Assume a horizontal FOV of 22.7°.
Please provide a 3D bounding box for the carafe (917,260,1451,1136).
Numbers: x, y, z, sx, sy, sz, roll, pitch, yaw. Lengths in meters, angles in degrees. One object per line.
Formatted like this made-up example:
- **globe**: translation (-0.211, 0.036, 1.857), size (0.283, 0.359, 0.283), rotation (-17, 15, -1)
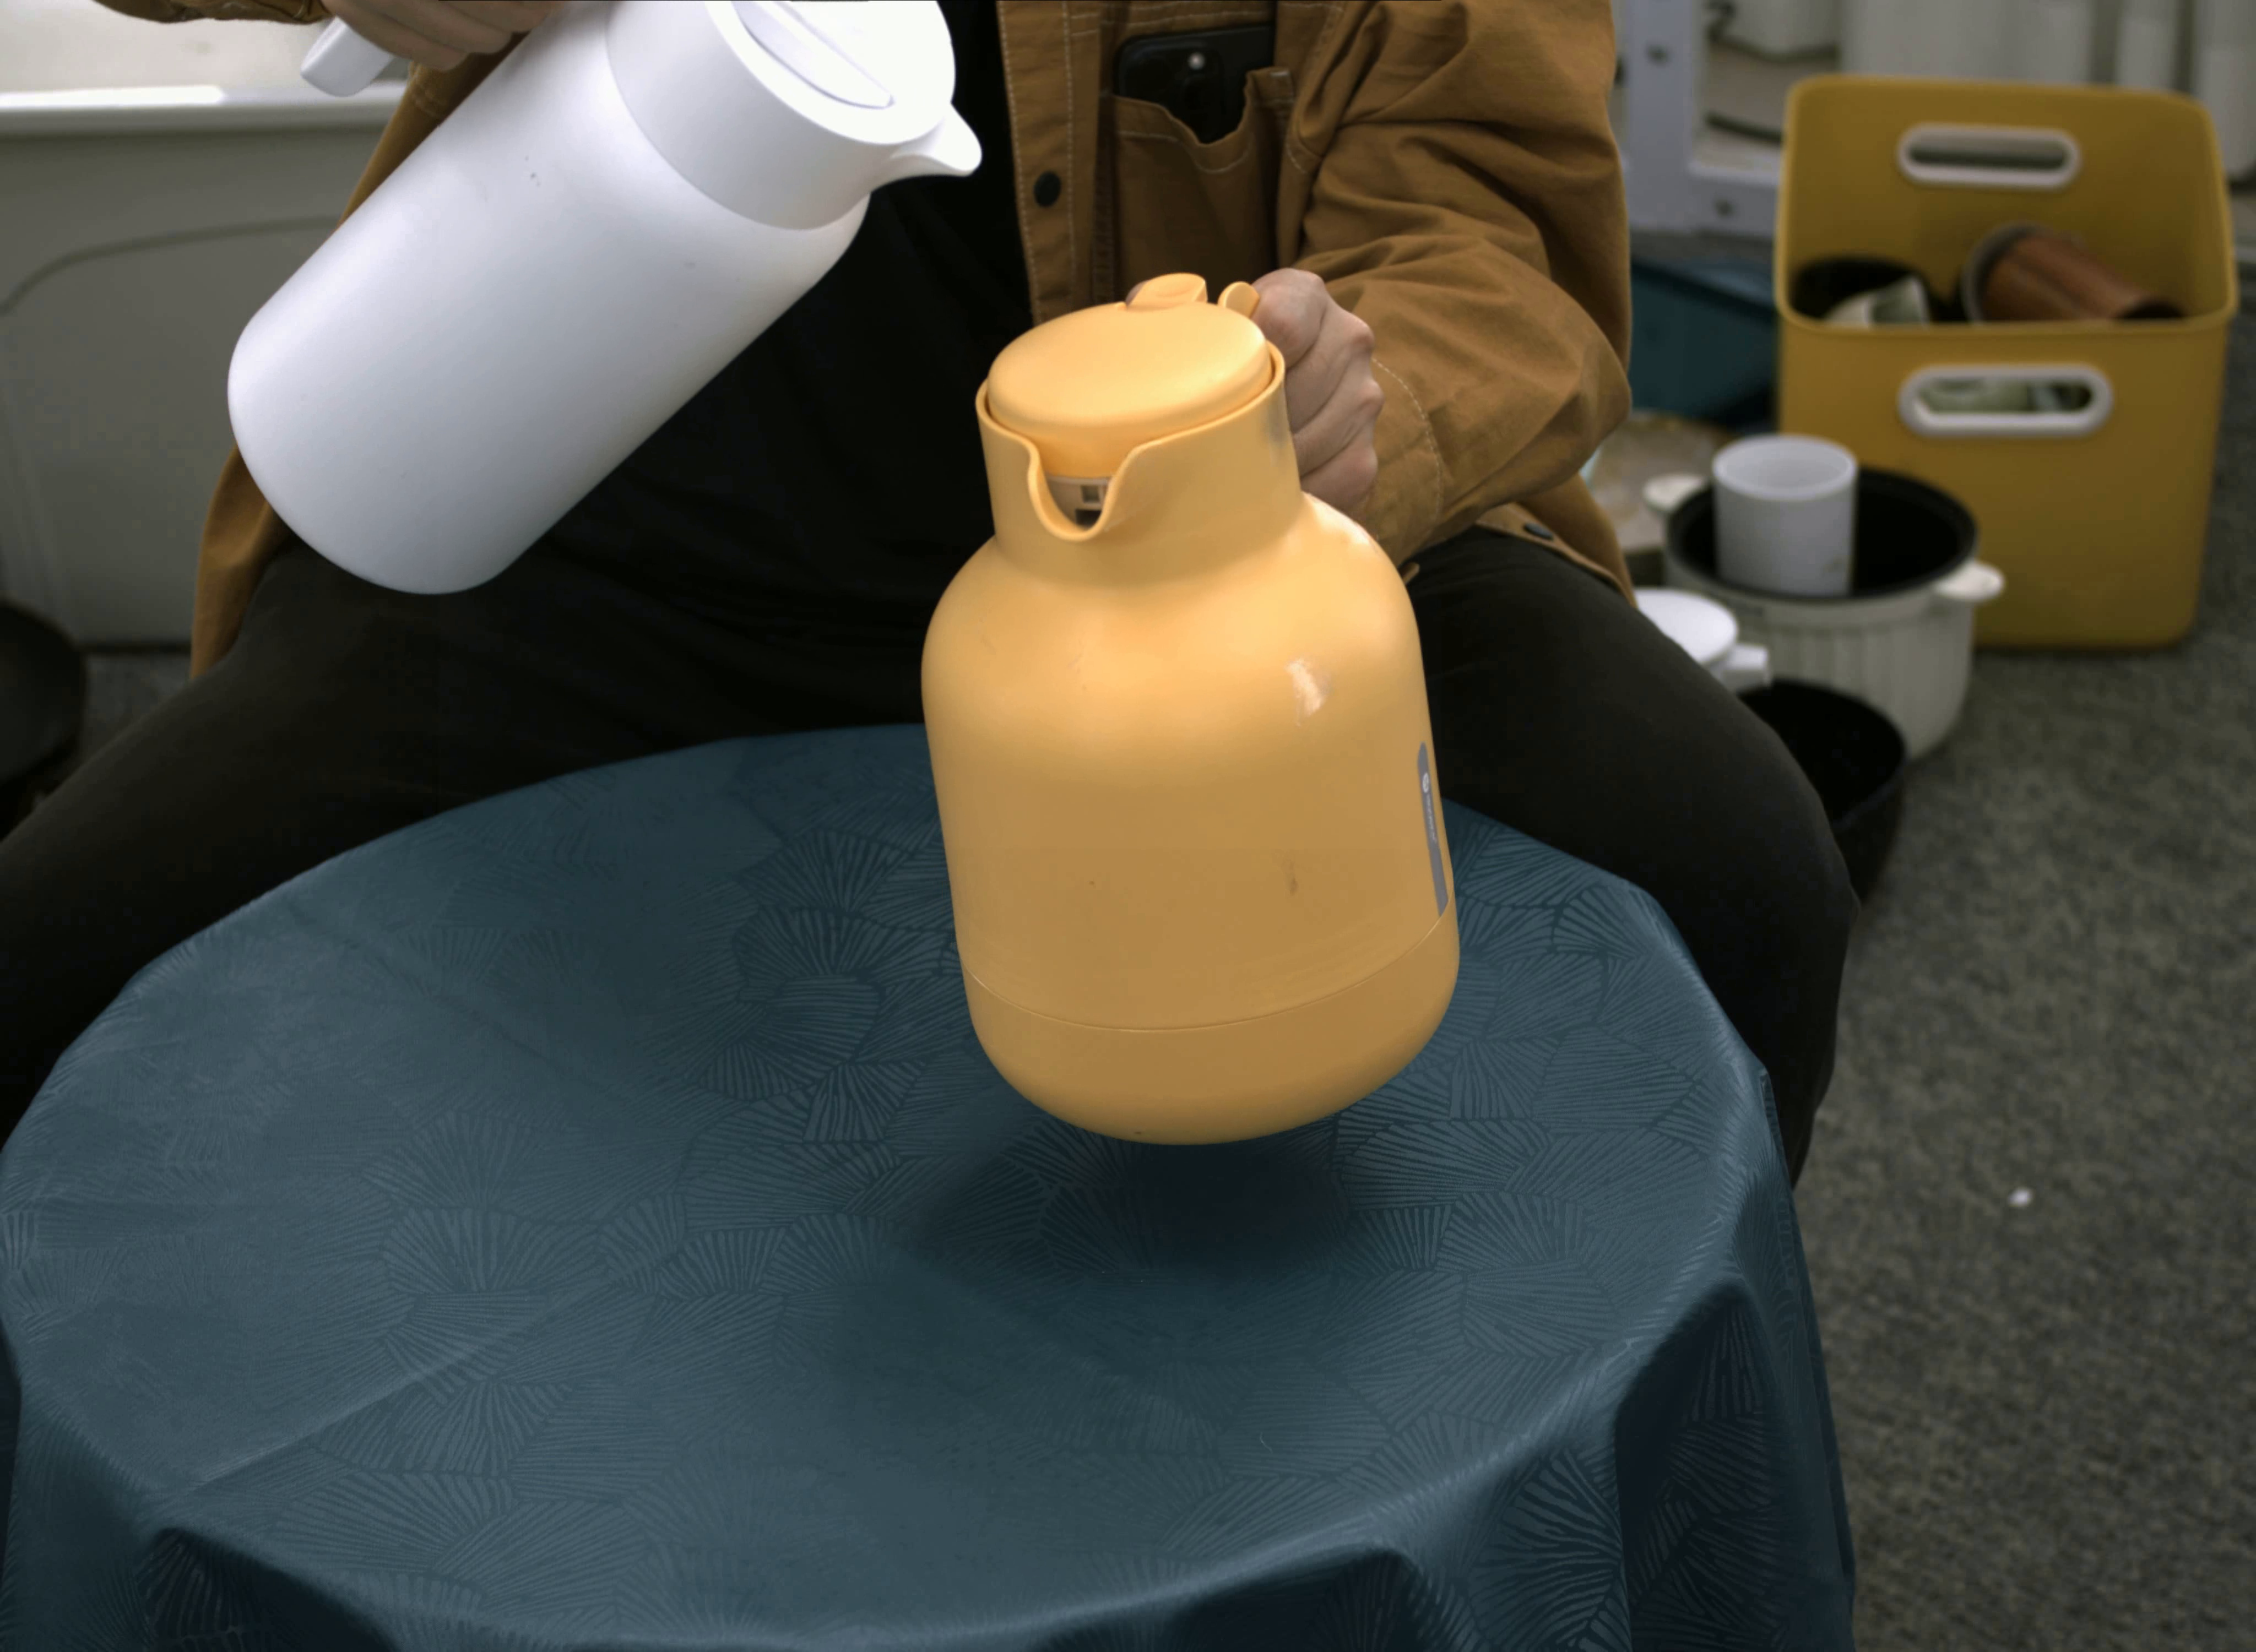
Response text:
- **carafe**: translation (0.021, -0.050, 1.812), size (0.162, 0.257, 0.206), rotation (4, 30, 18)

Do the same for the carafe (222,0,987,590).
- **carafe**: translation (-0.186, -0.198, 1.784), size (0.264, 0.172, 0.126), rotation (-38, 21, 40)
